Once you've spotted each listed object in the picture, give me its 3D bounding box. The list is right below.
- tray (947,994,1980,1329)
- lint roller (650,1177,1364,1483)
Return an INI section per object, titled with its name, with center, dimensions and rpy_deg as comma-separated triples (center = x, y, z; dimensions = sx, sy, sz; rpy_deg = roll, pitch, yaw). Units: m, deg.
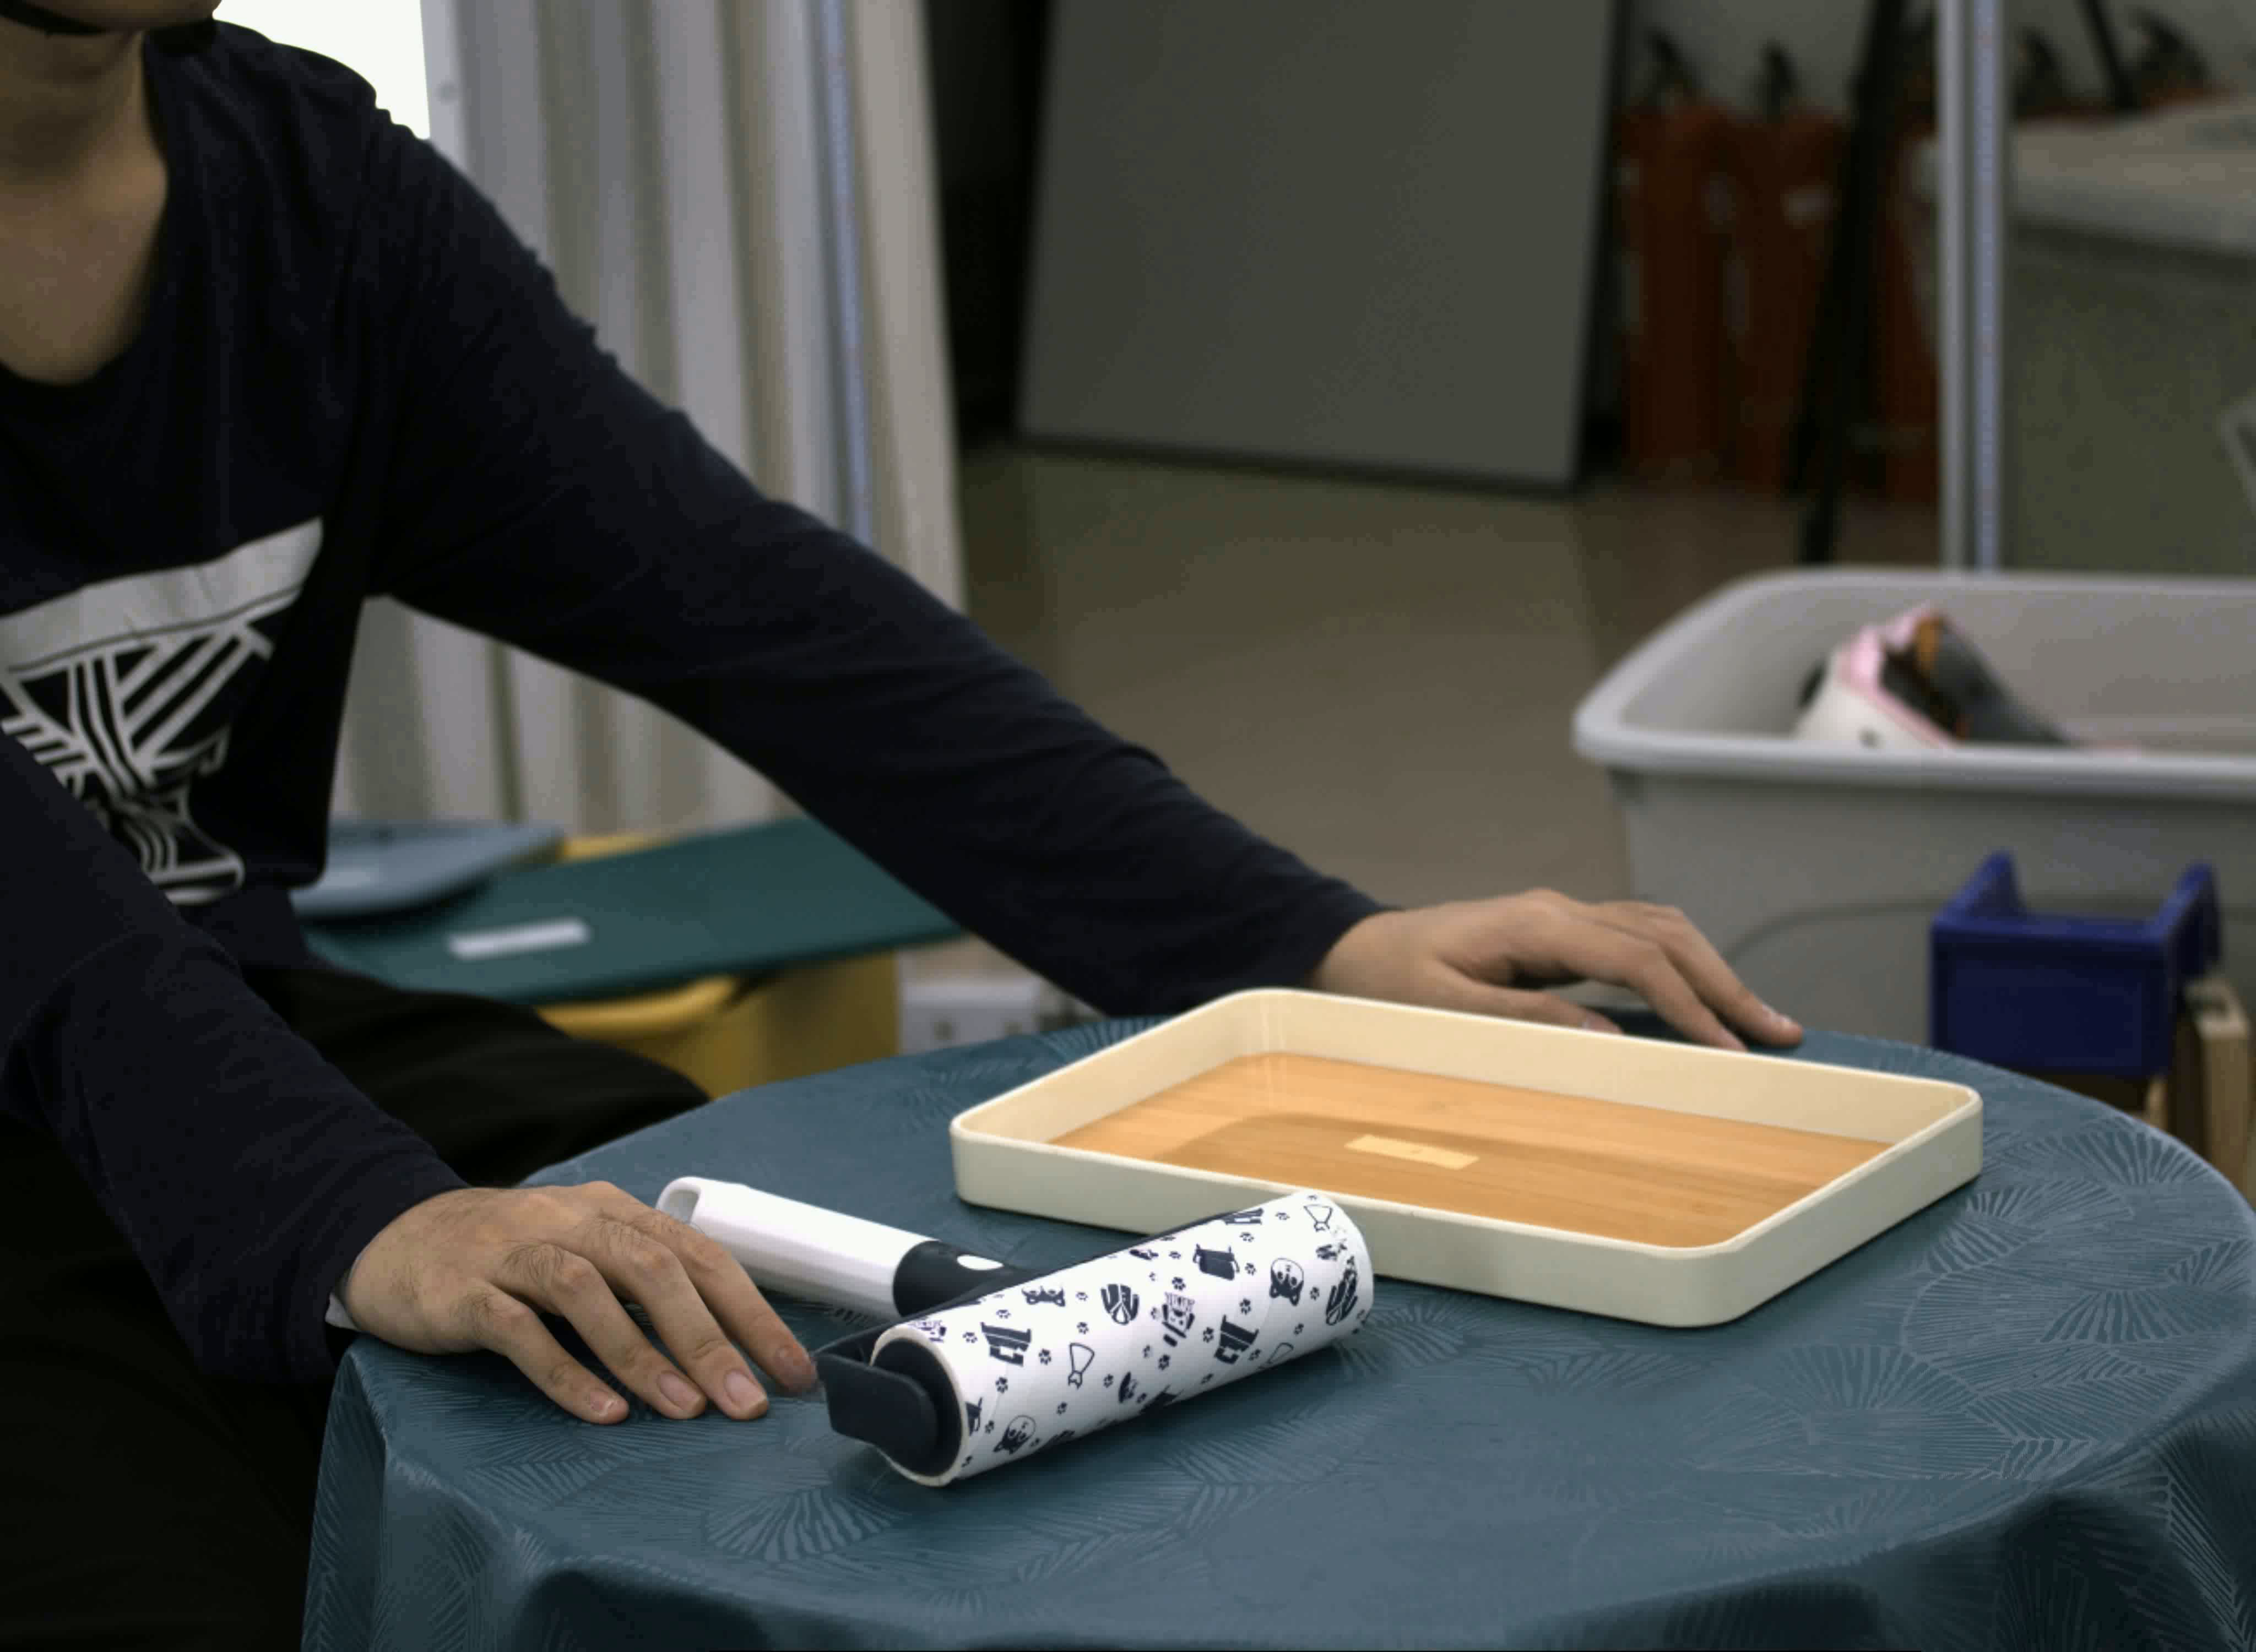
[tray]
center = 0.108, 0.105, 1.752
dimensions = 0.302, 0.028, 0.188
rpy_deg = 6, 17, 38
[lint roller]
center = -0.069, 0.137, 1.641
dimensions = 0.172, 0.051, 0.249
rpy_deg = -16, 16, -39
